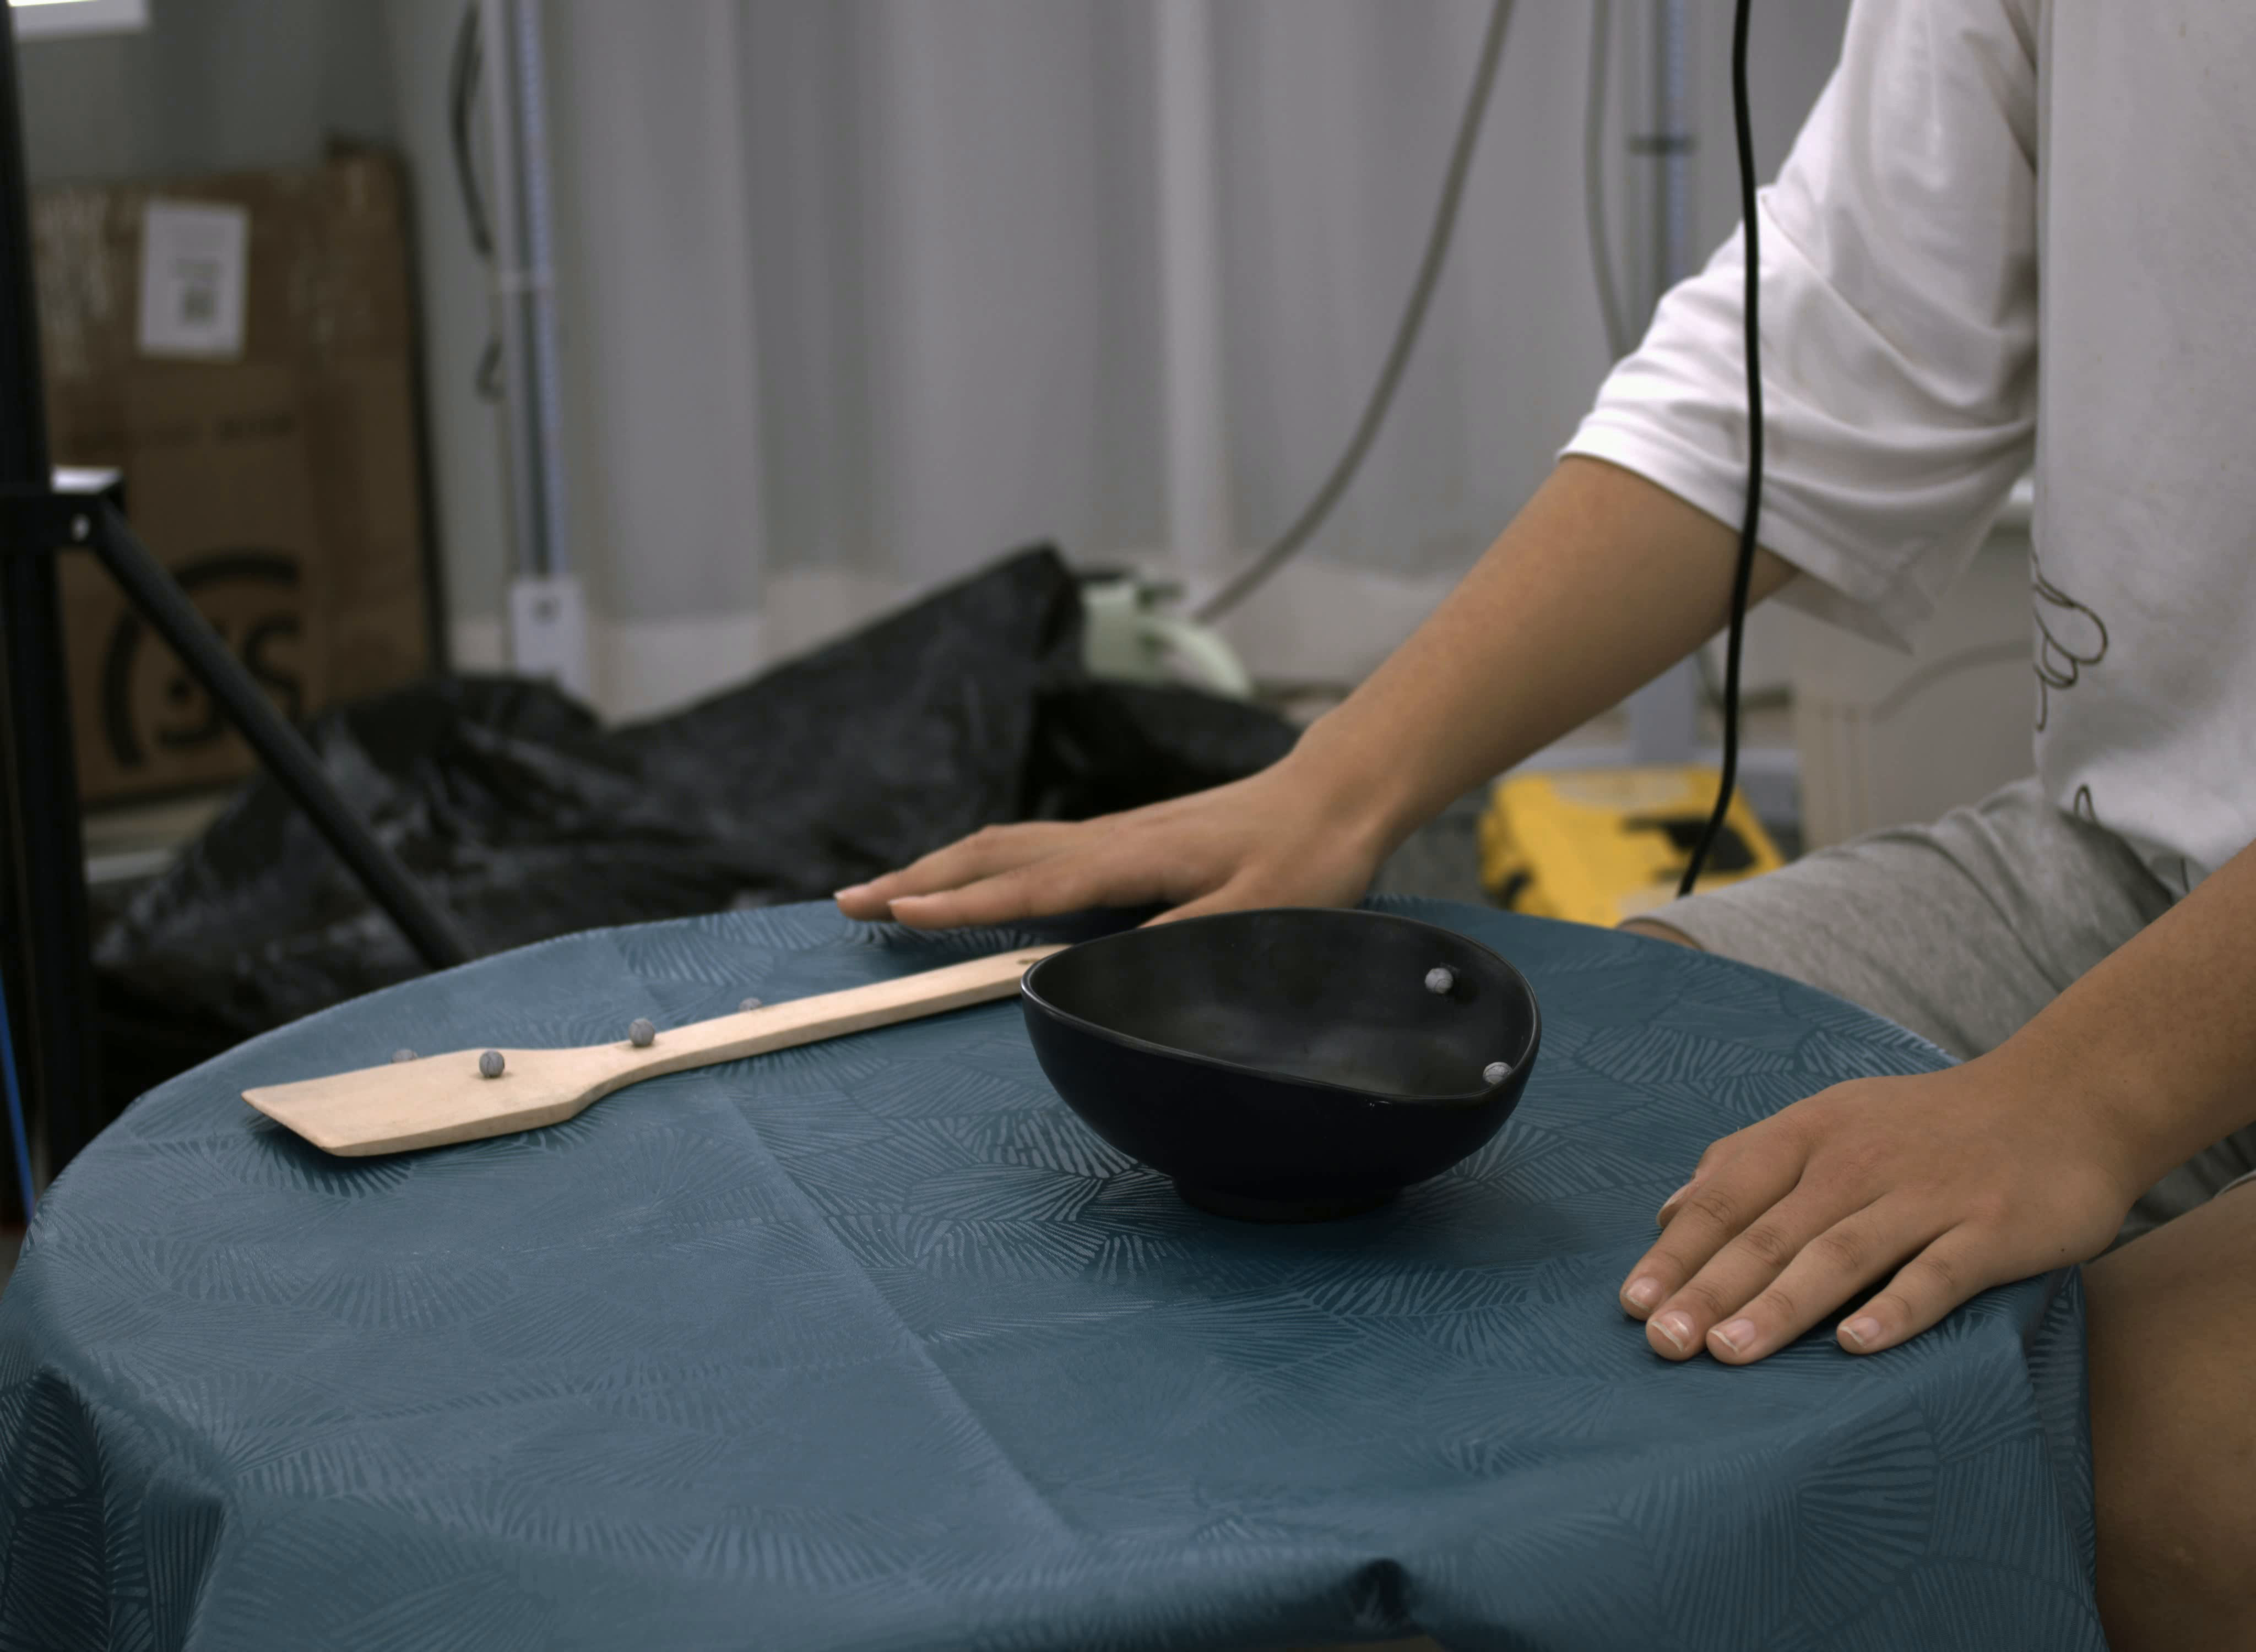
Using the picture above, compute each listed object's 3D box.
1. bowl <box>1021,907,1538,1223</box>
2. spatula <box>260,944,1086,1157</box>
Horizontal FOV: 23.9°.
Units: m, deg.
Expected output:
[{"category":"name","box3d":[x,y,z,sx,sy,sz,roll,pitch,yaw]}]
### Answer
[{"category":"bowl","box3d":[0.045,0.074,1.554,0.134,0.067,0.174,-16,22,-41]},{"category":"spatula","box3d":[-0.132,0.069,1.702,0.286,0.010,0.074,-12,17,-29]}]
